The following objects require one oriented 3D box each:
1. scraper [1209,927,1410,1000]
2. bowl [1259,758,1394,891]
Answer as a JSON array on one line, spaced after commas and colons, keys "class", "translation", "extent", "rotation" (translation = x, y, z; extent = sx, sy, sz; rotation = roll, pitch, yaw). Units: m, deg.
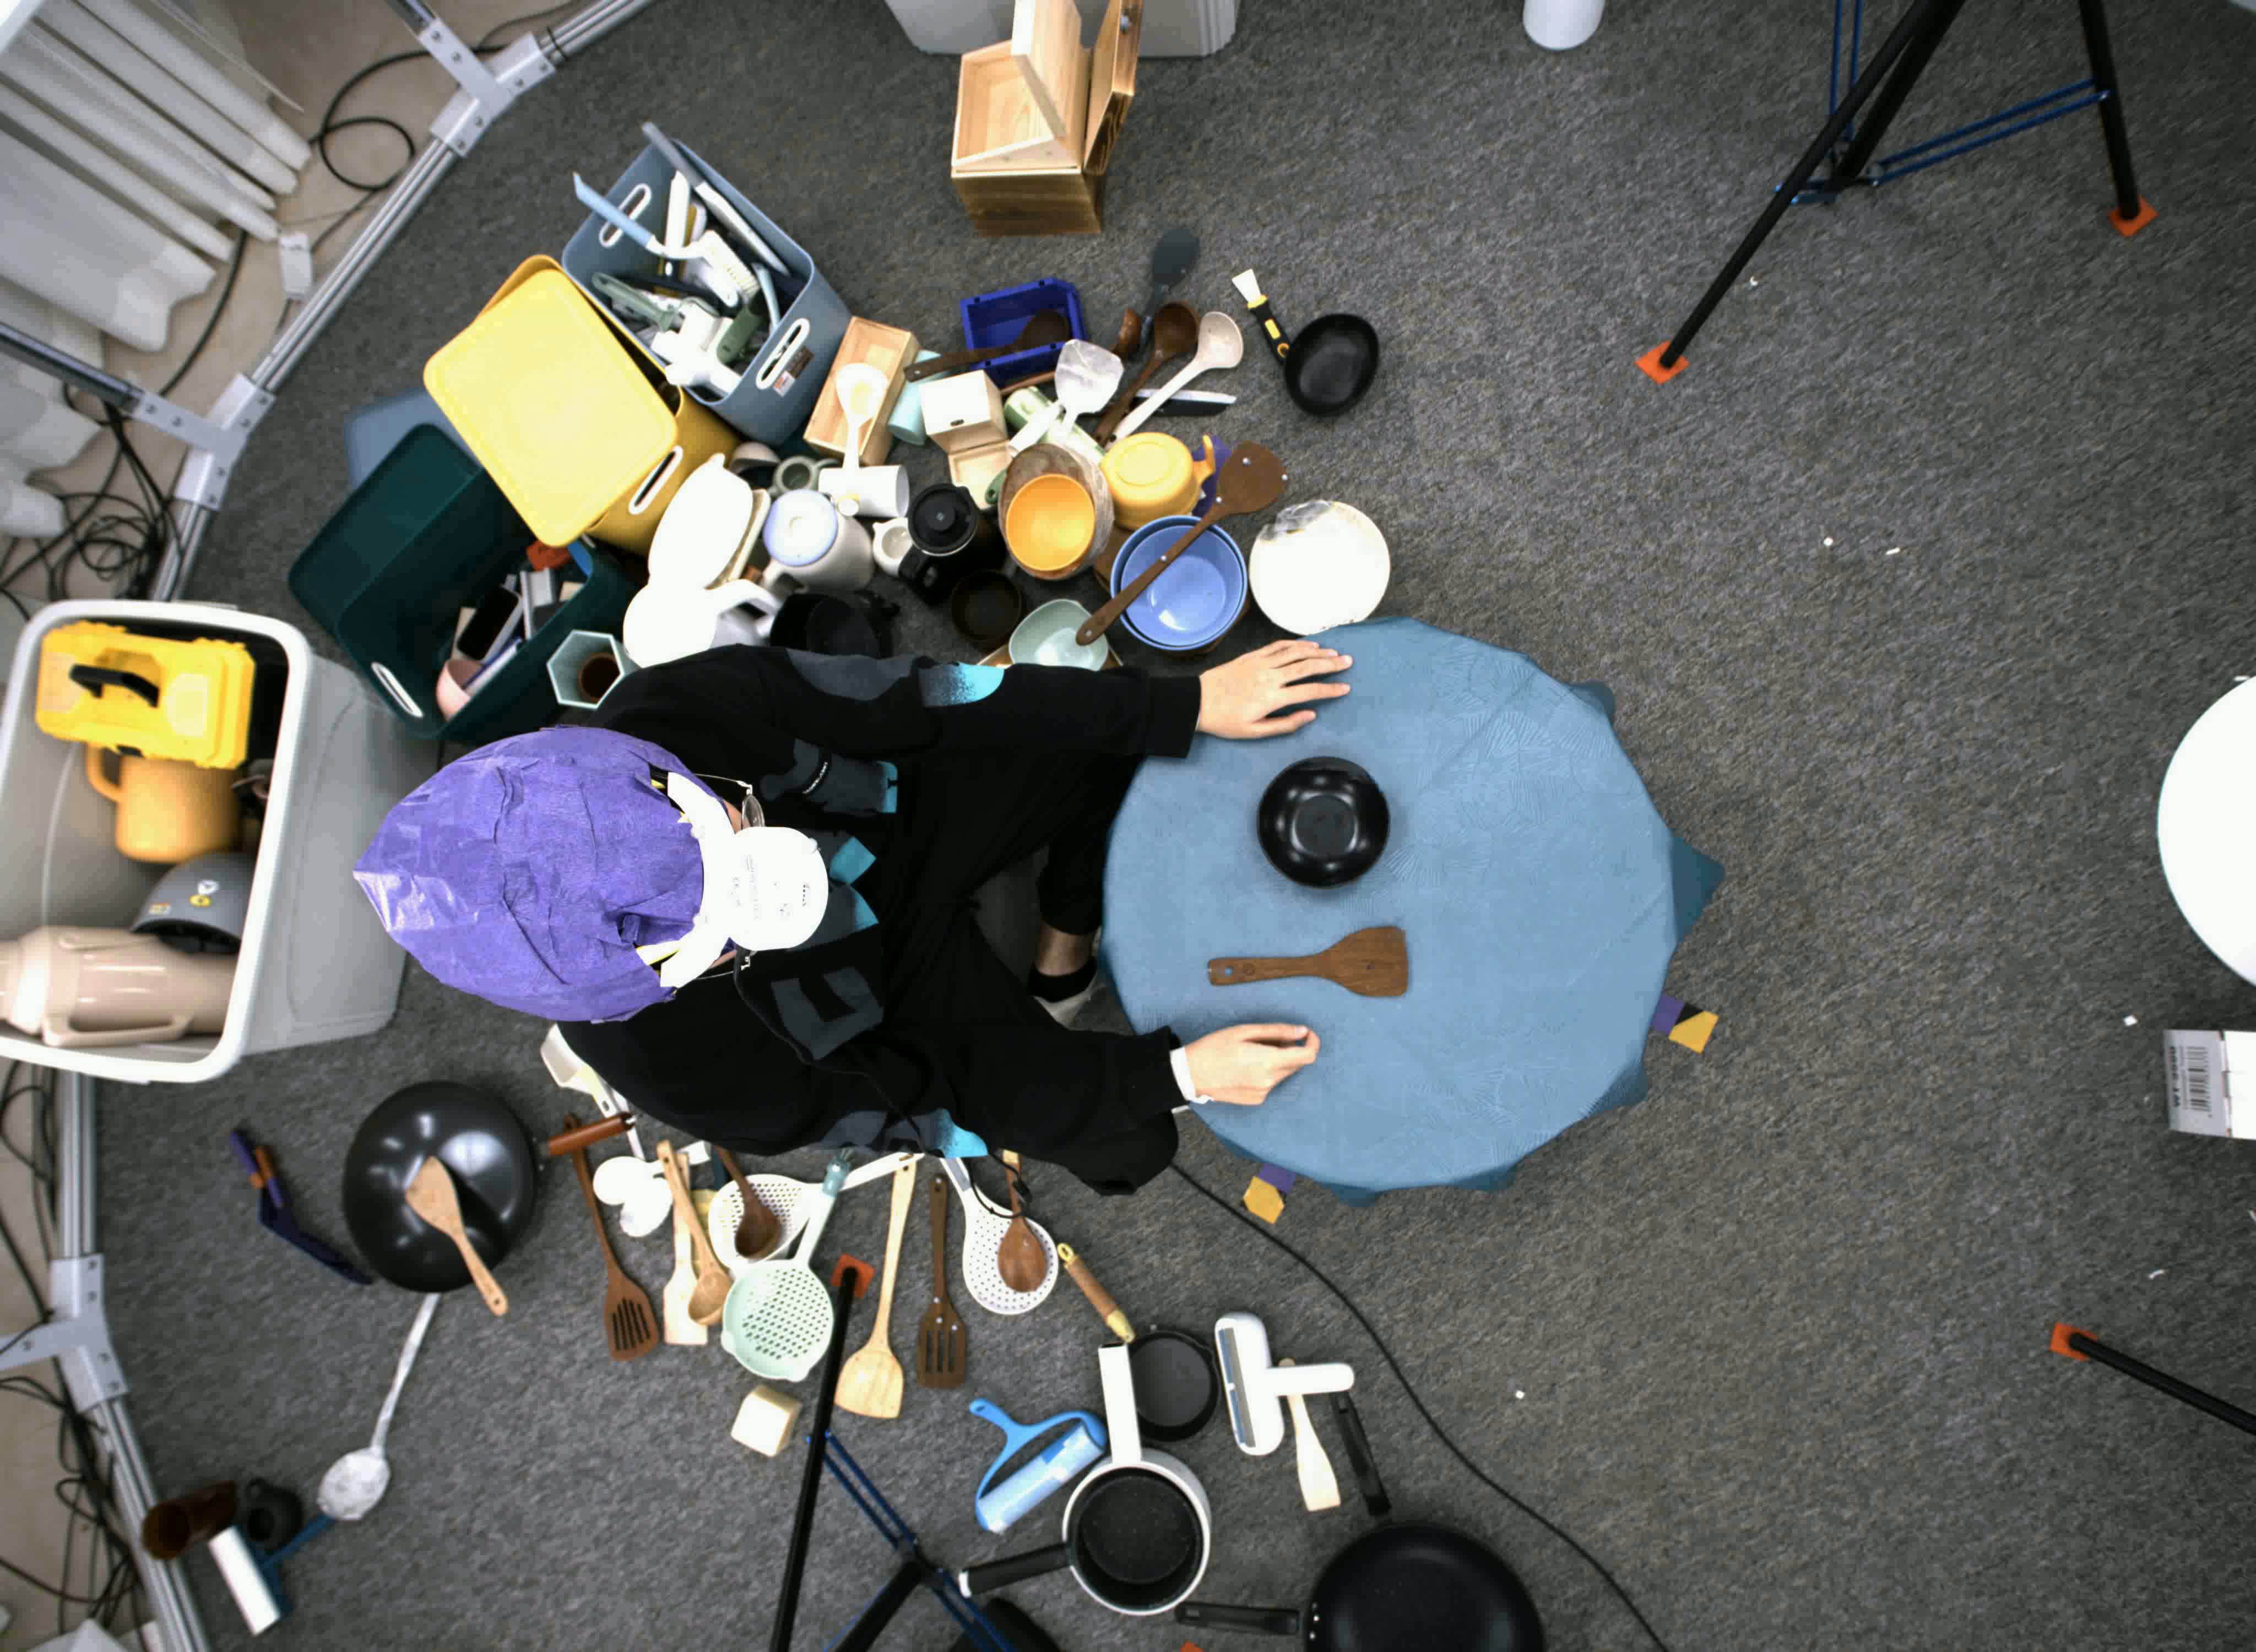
[{"class": "scraper", "translation": [0.191, 0.150, 1.470], "extent": [0.212, 0.011, 0.075], "rotation": [-5, 85, 11]}, {"class": "bowl", "translation": [0.209, -0.001, 1.457], "extent": [0.140, 0.049, 0.139], "rotation": [-1, 89, 11]}]
